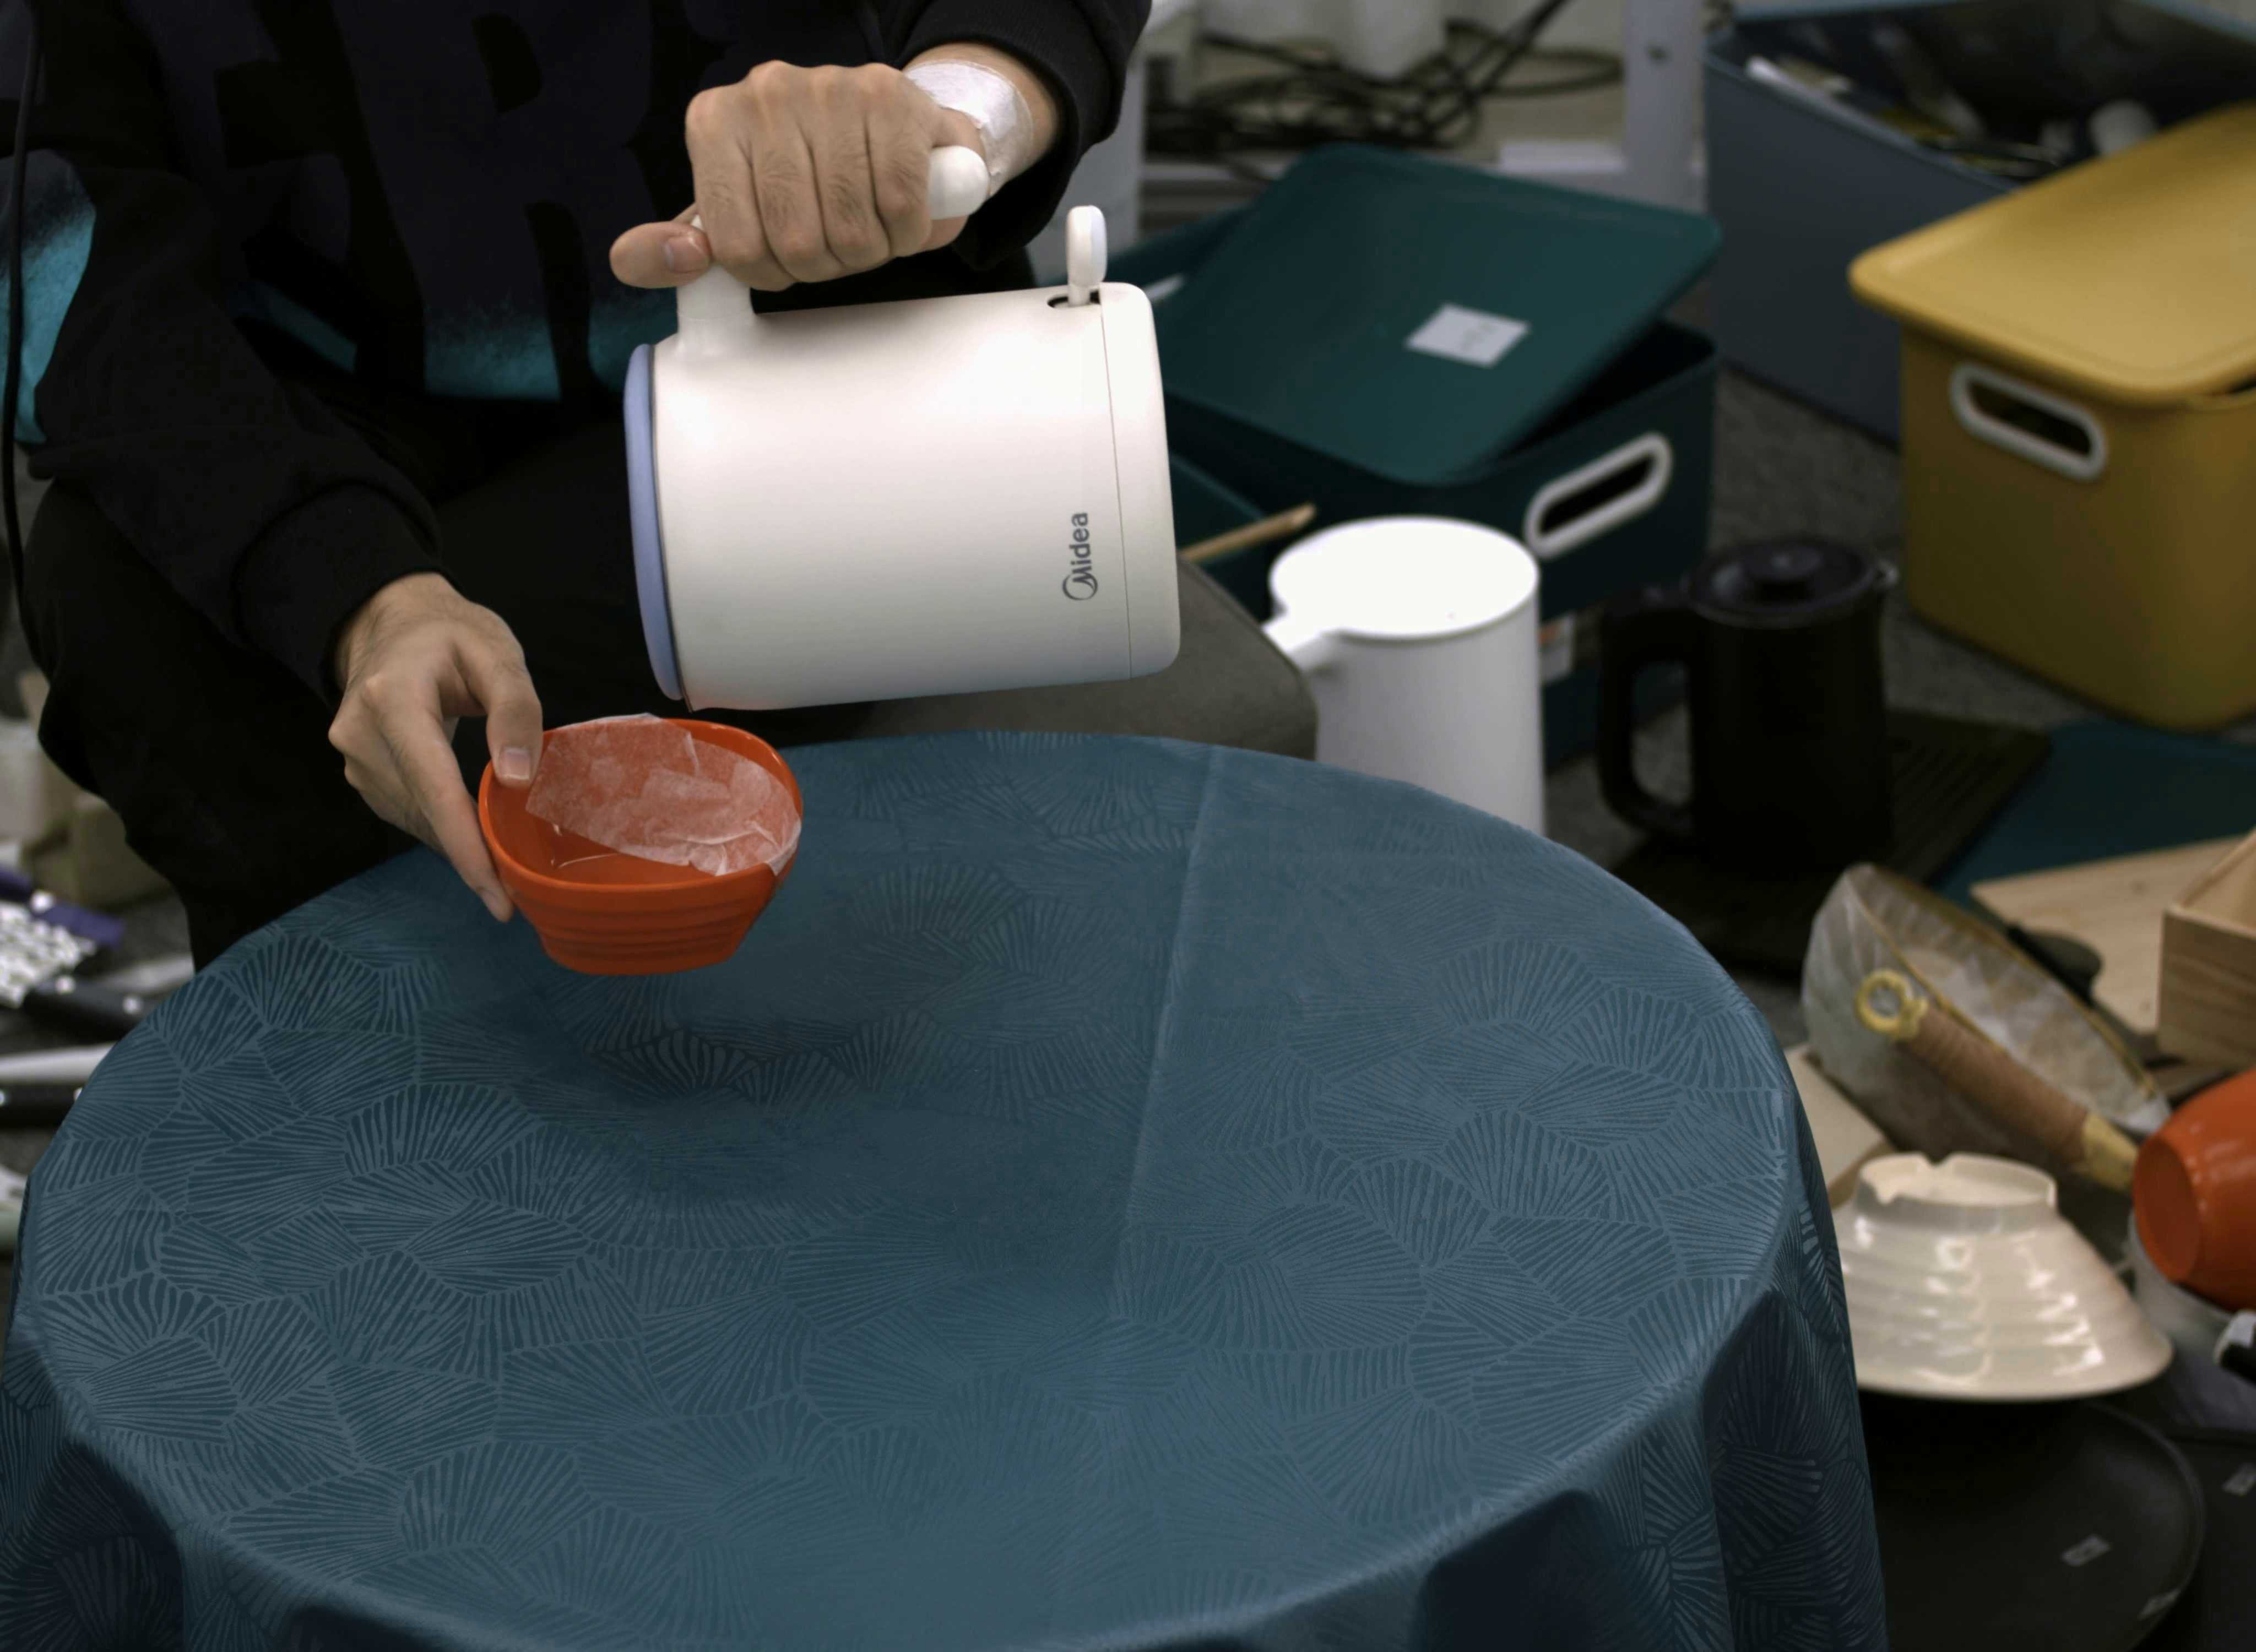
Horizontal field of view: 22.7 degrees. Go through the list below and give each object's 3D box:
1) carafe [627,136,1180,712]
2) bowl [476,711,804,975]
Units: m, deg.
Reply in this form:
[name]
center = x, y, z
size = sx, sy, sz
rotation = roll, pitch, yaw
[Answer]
[carafe]
center = -0.073, -0.131, 1.849
size = 0.182, 0.189, 0.134
rotation = -3, 22, -4
[bowl]
center = -0.166, 0.011, 1.918
size = 0.118, 0.050, 0.121
rotation = 1, 33, -1
